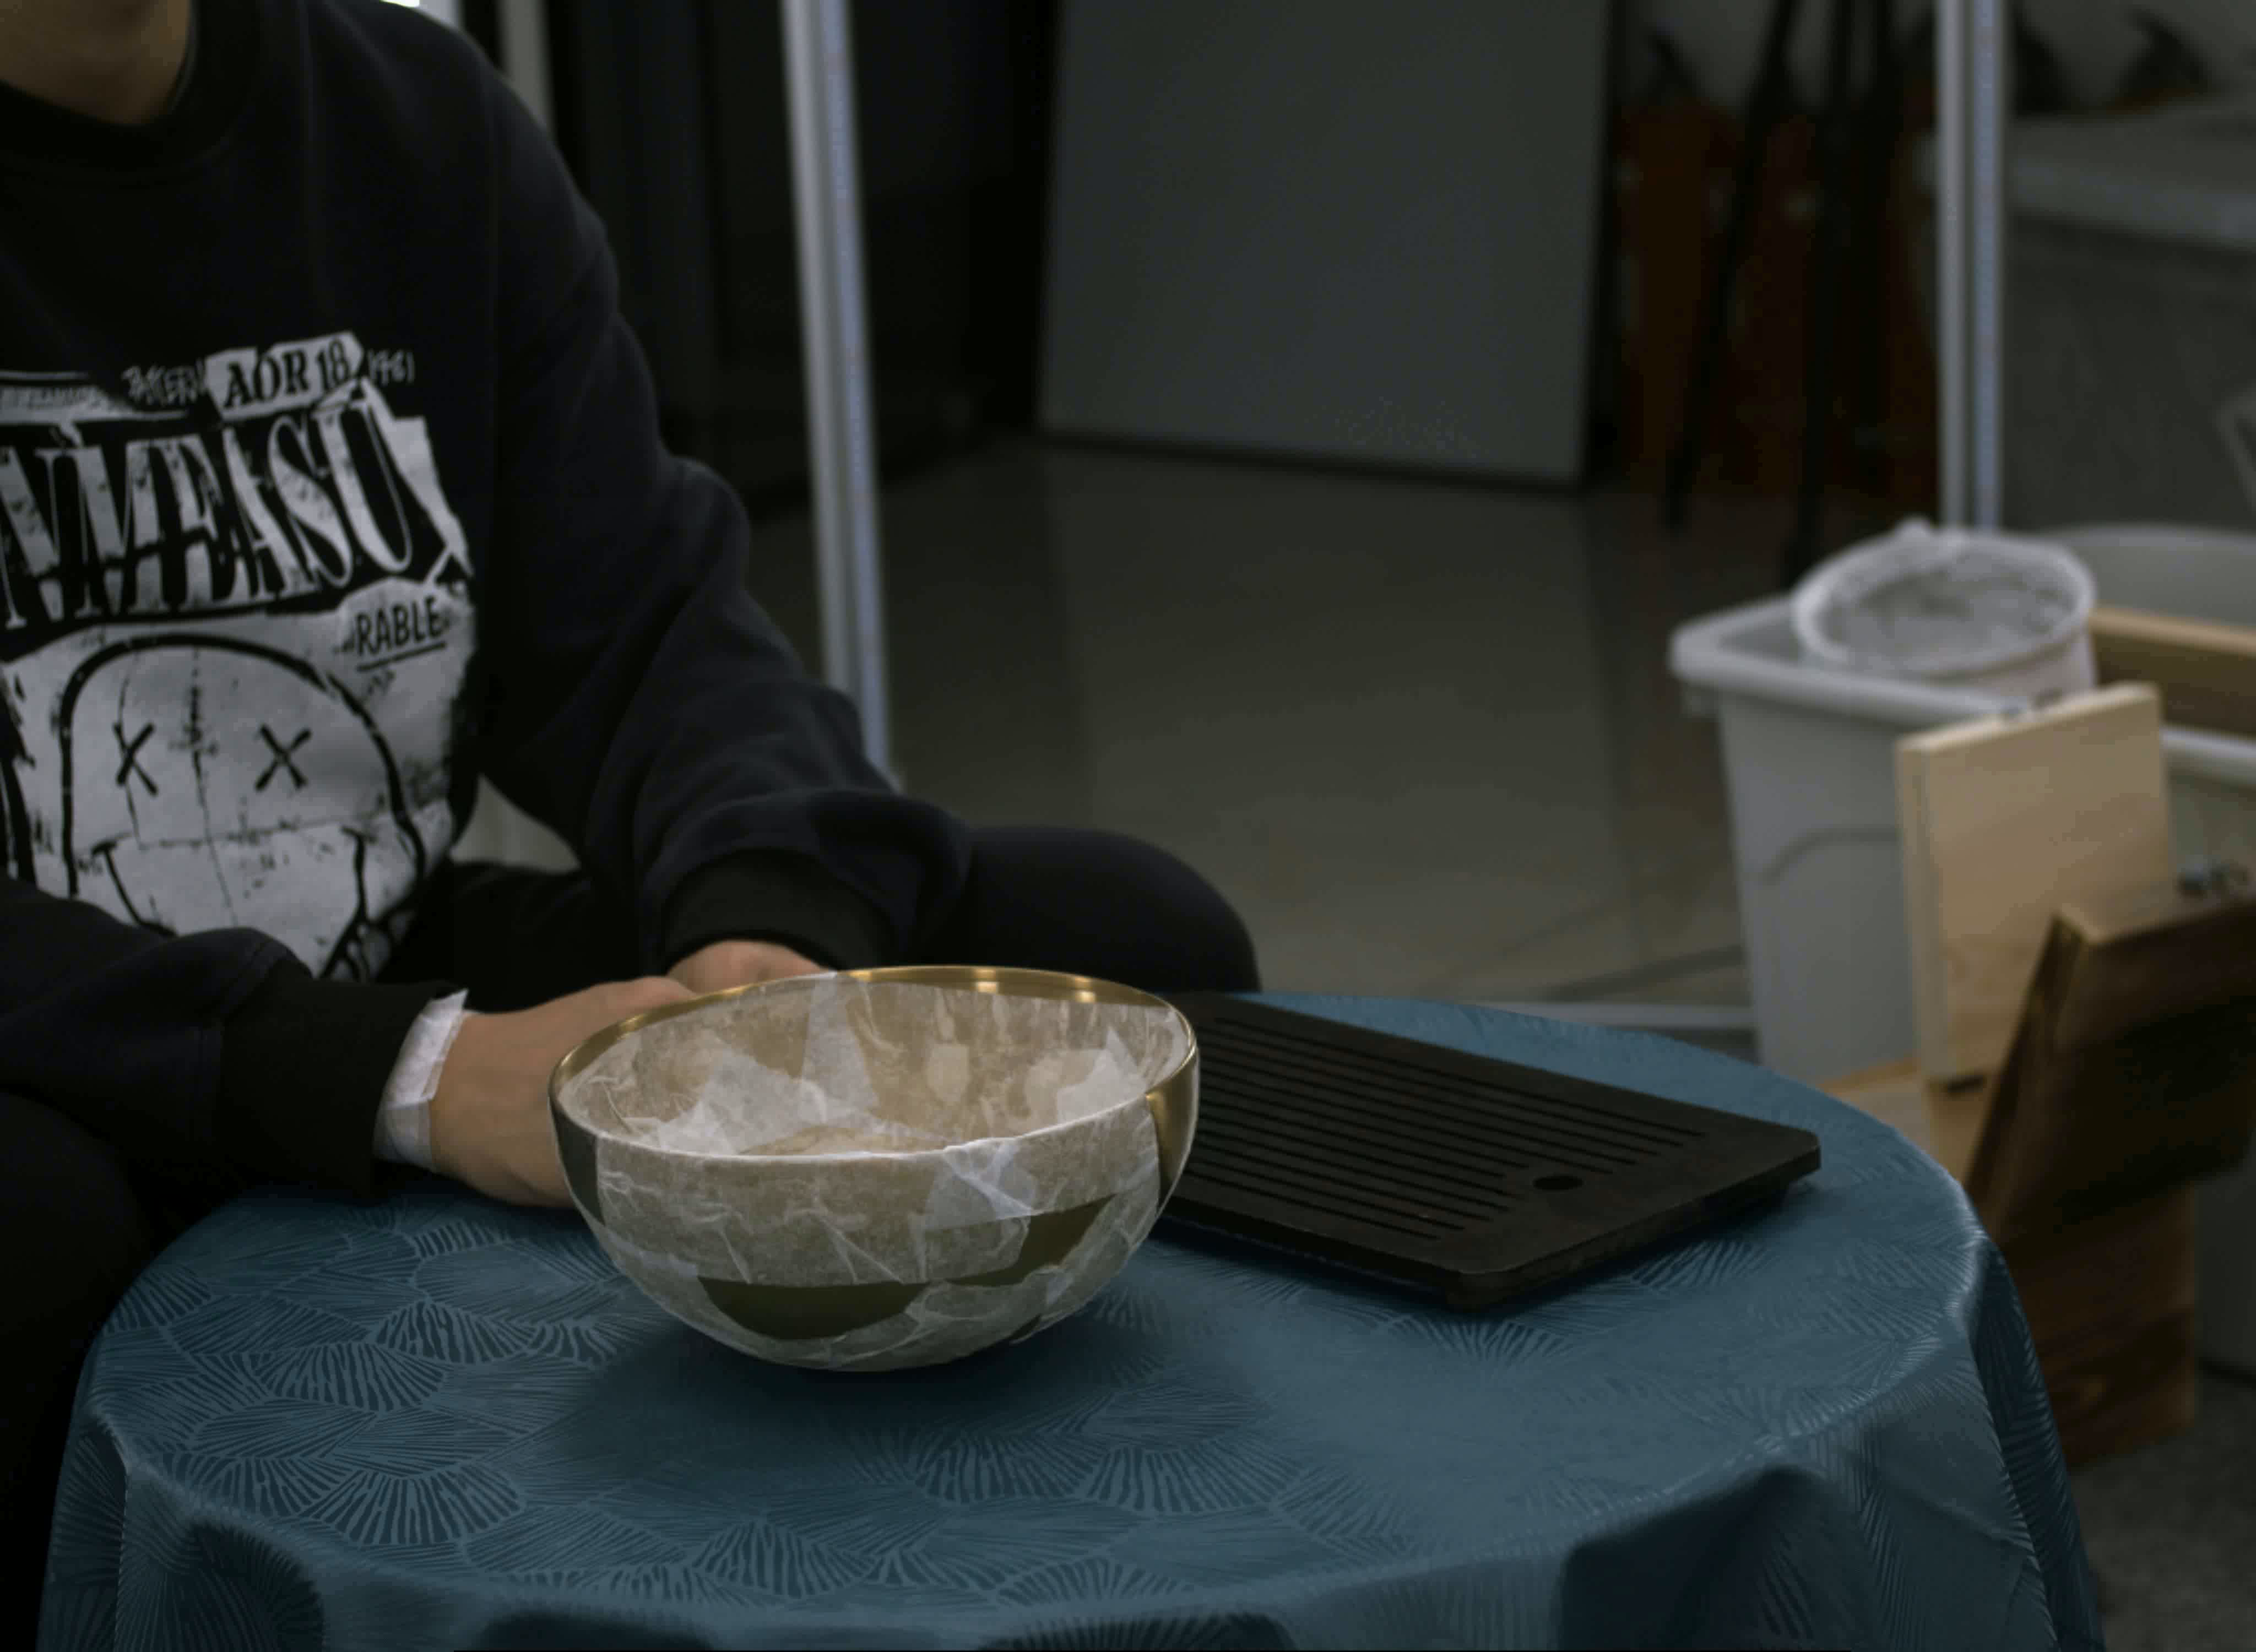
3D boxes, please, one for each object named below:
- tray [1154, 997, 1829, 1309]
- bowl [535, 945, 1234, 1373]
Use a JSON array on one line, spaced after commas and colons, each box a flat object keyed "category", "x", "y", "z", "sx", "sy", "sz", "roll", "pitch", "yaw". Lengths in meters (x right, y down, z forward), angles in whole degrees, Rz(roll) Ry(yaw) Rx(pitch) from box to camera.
[{"category": "tray", "x": 0.068, "y": 0.105, "z": 1.781, "sx": 0.166, "sy": 0.019, "sz": 0.309, "roll": -16, "pitch": 18, "yaw": -40}, {"category": "bowl", "x": -0.071, "y": 0.110, "z": 1.641, "sx": 0.212, "sy": 0.095, "sz": 0.215, "roll": -5, "pitch": 15, "yaw": 0}]
